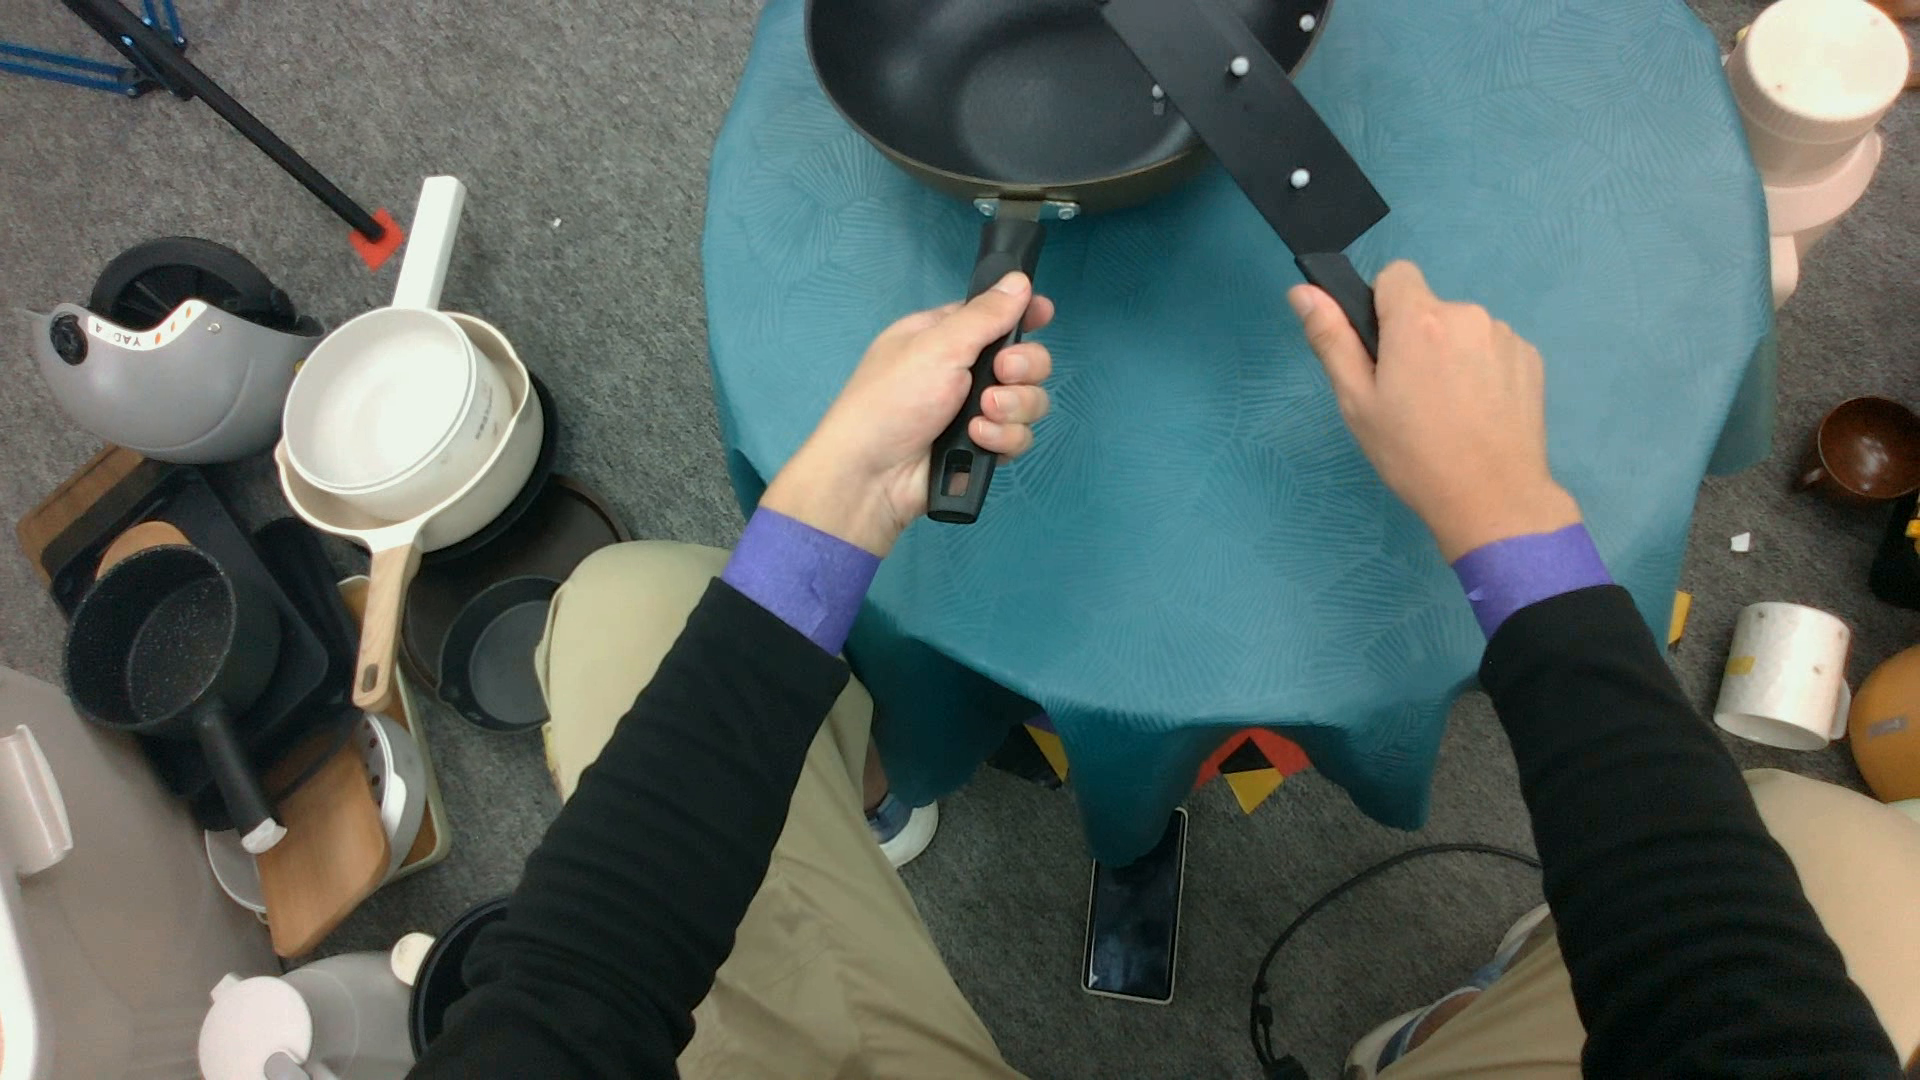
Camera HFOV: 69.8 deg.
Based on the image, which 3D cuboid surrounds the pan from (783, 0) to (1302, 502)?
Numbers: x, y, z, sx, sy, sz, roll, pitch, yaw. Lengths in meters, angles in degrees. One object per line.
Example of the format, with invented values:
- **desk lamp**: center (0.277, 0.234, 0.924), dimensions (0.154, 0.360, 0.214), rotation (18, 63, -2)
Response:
- **pan**: center (0.031, -0.210, 0.738), dimensions (0.288, 0.086, 0.465), rotation (6, 65, 11)

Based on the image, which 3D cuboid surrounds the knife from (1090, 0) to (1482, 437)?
- **knife**: center (0.159, -0.176, 0.672), dimensions (0.081, 0.021, 0.302), rotation (-33, 88, -25)
